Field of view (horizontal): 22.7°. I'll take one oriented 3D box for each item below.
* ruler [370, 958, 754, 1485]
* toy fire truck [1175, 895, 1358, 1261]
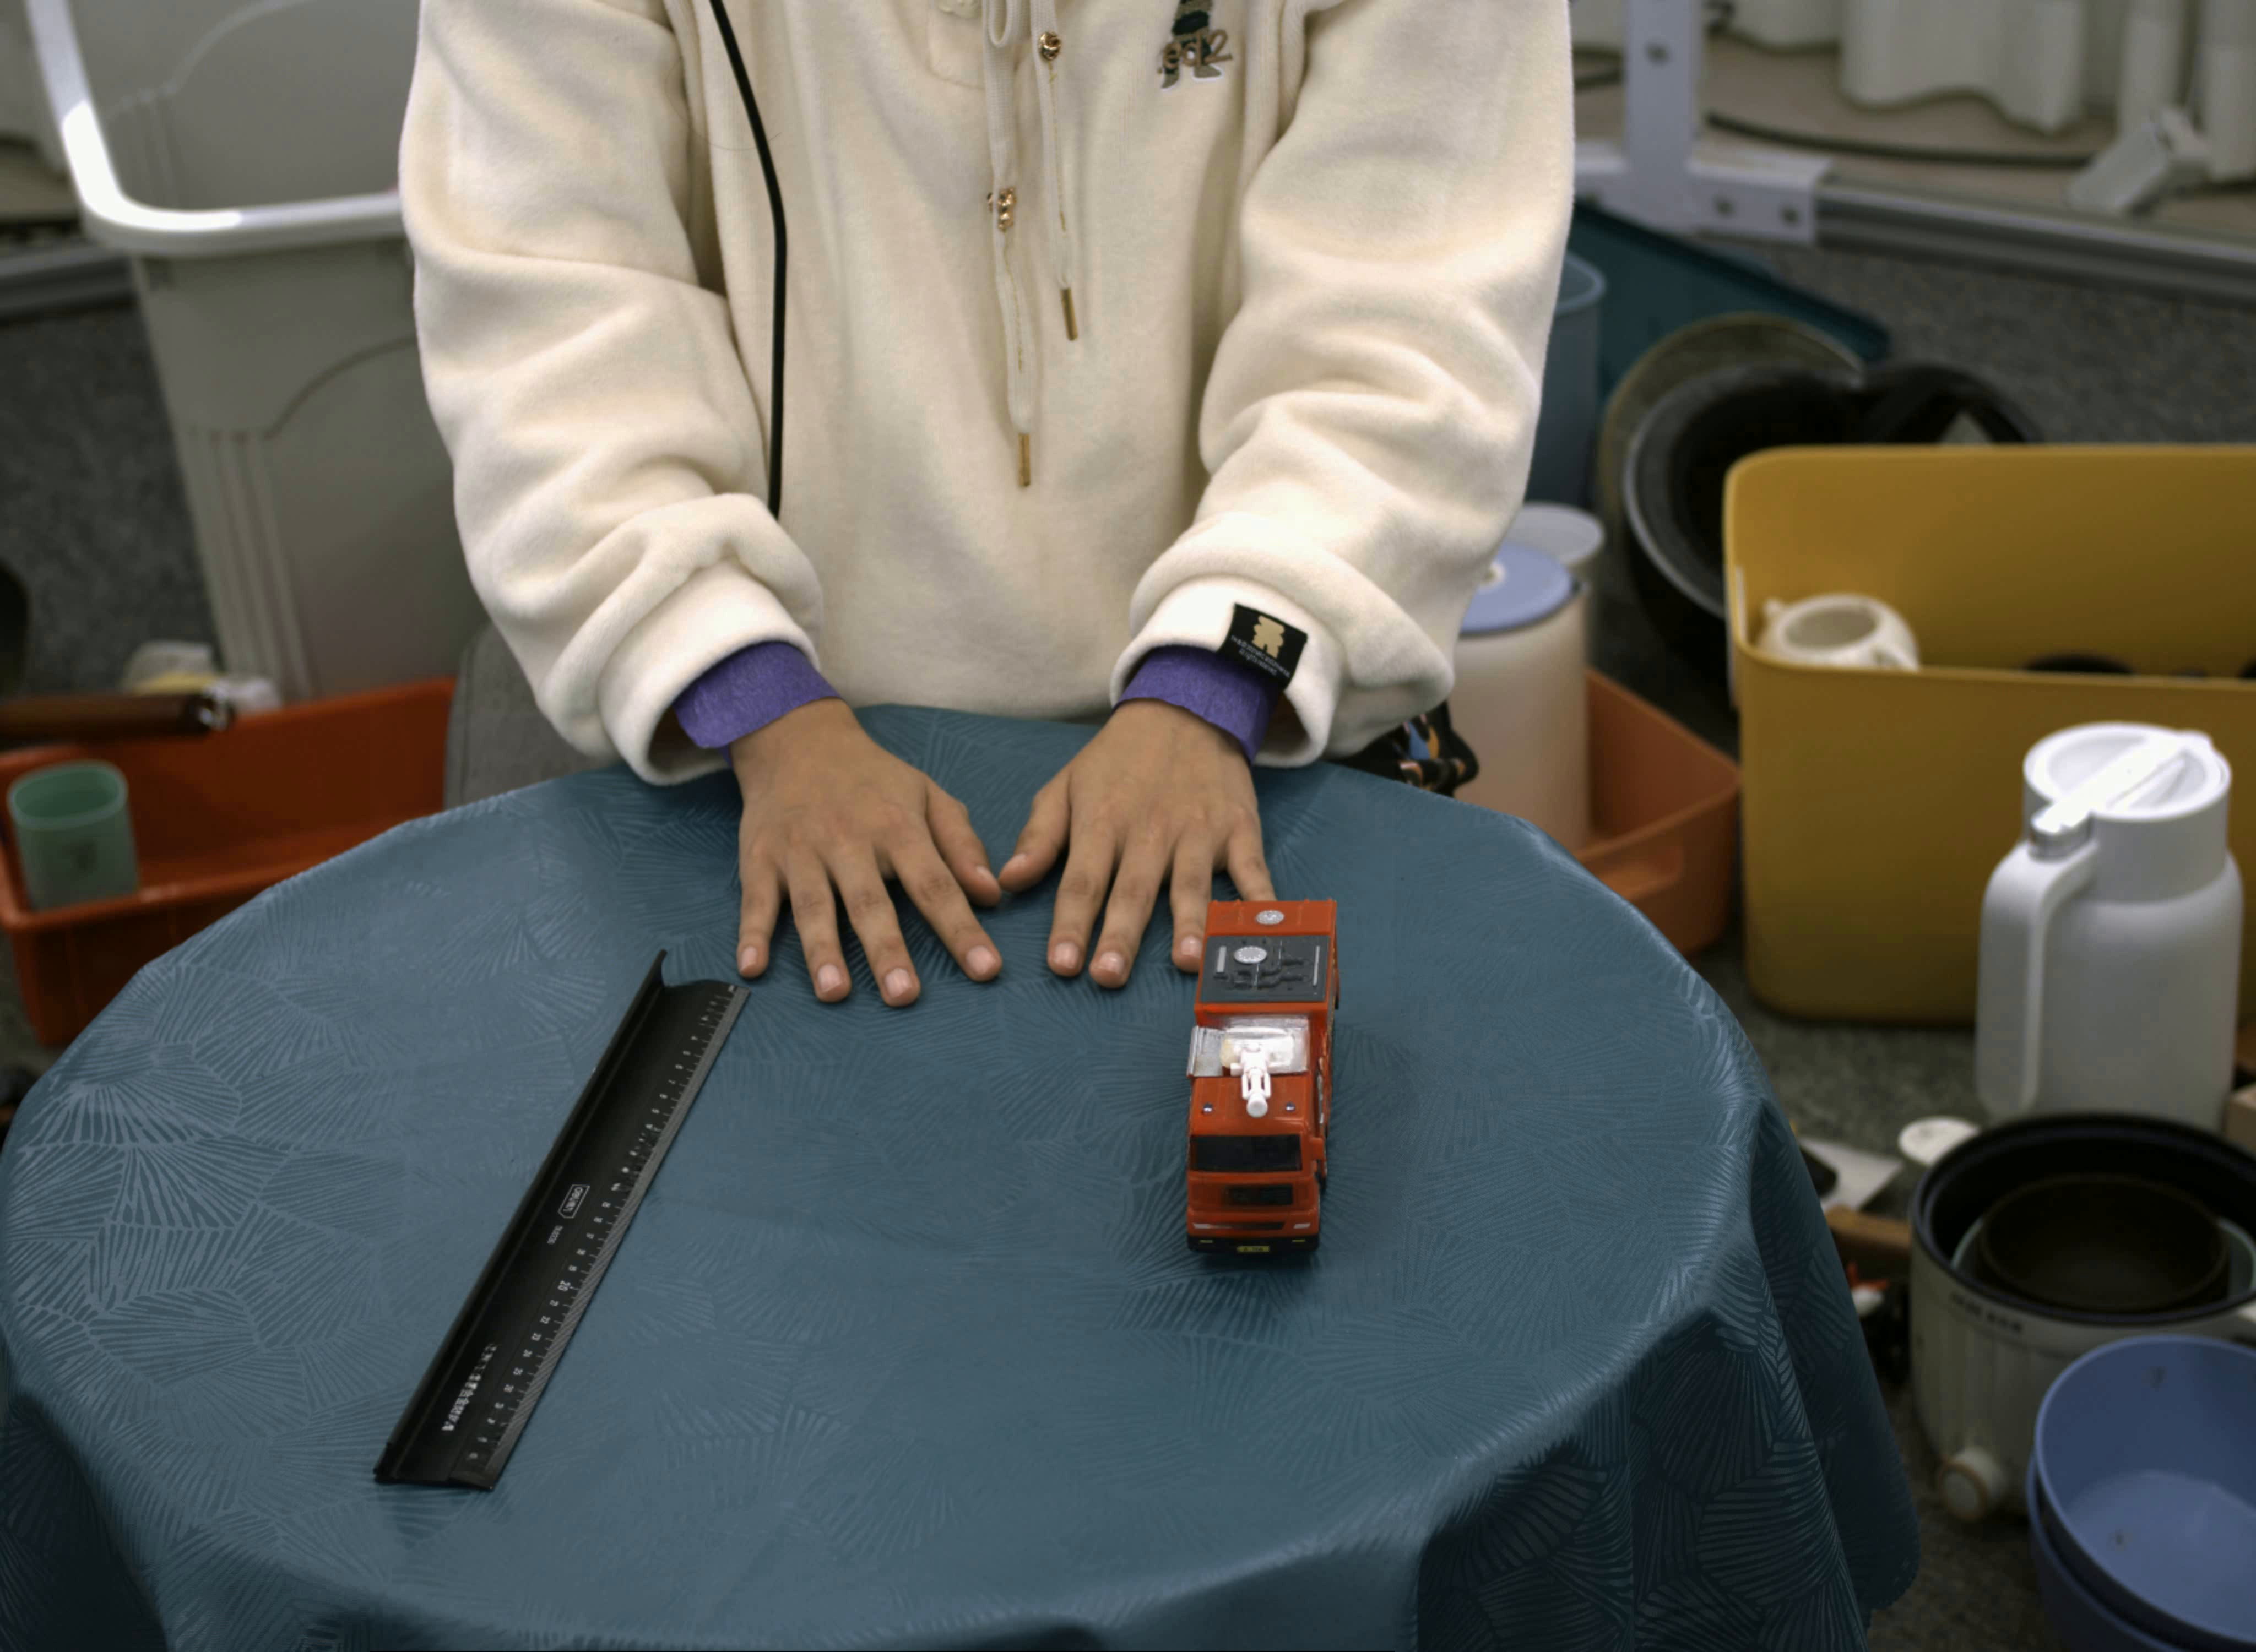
[{"bbox_3d":[-0.183,0.125,1.856,0.039,0.017,0.318,6,28,11],"label":"ruler"},{"bbox_3d":[0.047,0.082,1.870,0.053,0.069,0.170,-1,26,6],"label":"toy fire truck"}]
